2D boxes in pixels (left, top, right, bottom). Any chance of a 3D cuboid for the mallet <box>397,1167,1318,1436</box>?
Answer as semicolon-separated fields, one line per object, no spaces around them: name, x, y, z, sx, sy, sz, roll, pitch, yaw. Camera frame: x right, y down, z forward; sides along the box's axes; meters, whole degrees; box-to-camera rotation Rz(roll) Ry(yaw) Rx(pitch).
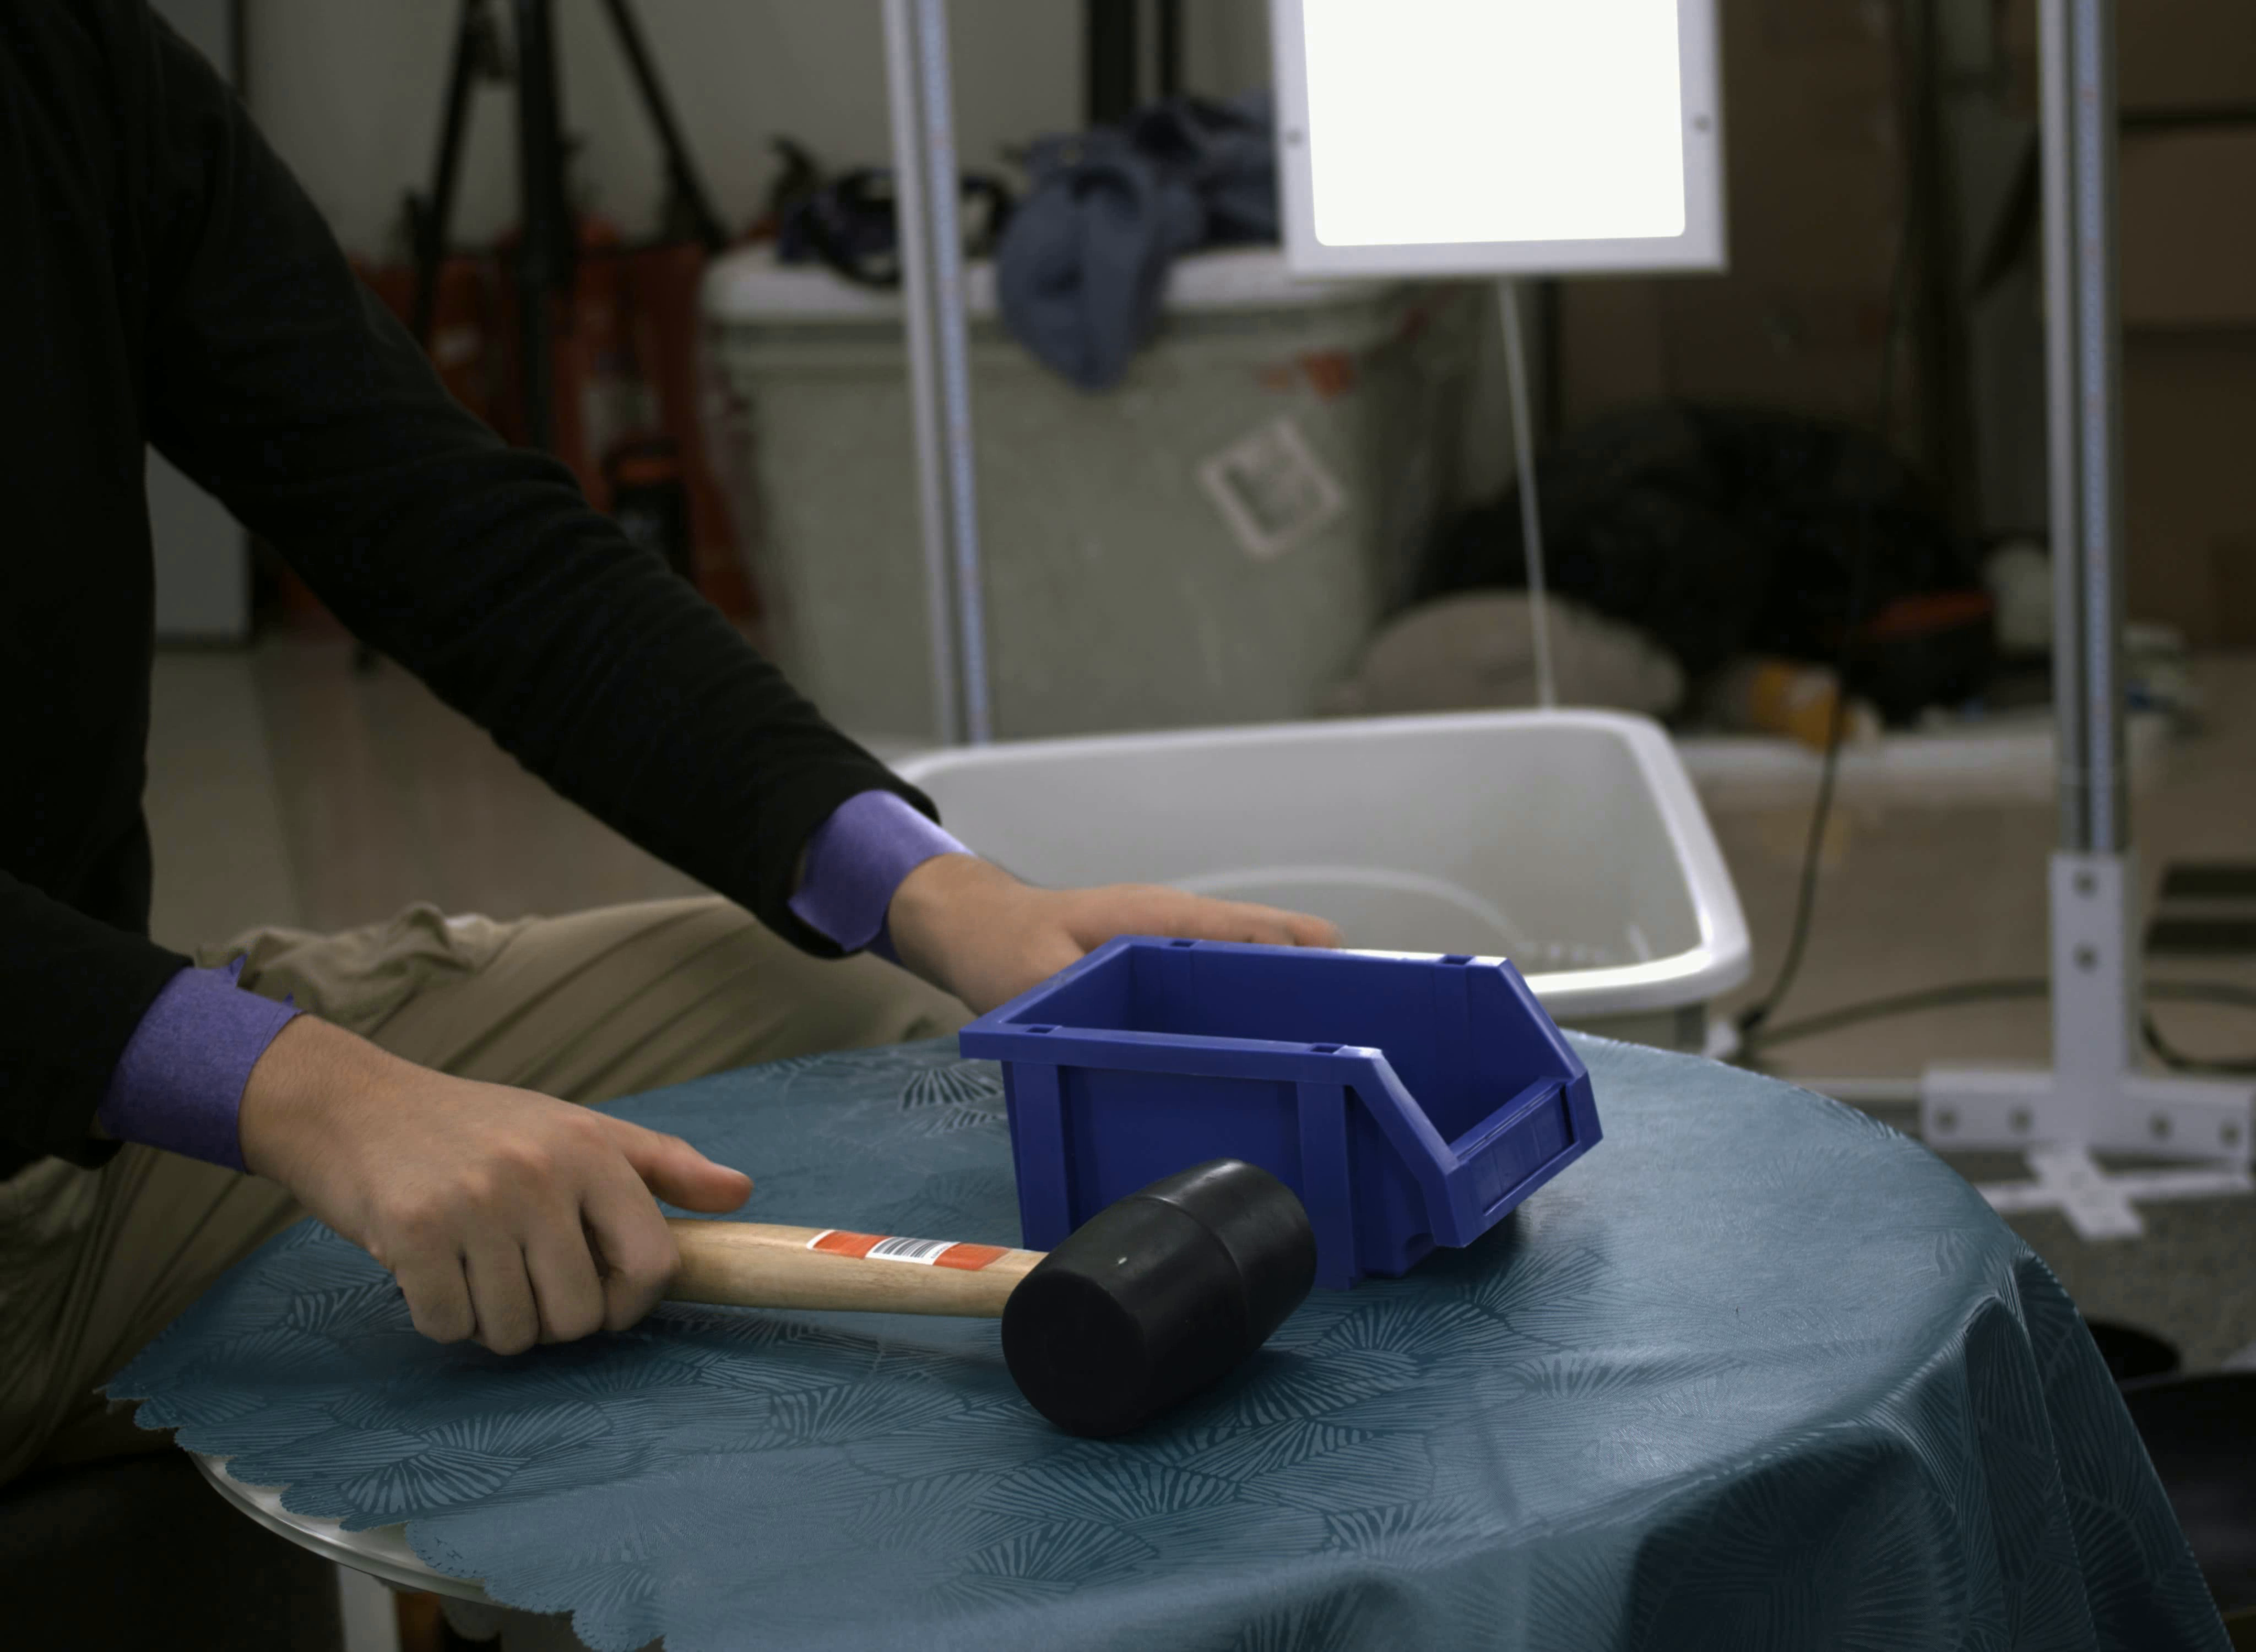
mallet;-0.103;0.136;1.772;0.346;0.064;0.099;5;17;37

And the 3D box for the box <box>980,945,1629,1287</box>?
box;0.062;0.094;1.838;0.183;0.082;0.122;0;14;31
